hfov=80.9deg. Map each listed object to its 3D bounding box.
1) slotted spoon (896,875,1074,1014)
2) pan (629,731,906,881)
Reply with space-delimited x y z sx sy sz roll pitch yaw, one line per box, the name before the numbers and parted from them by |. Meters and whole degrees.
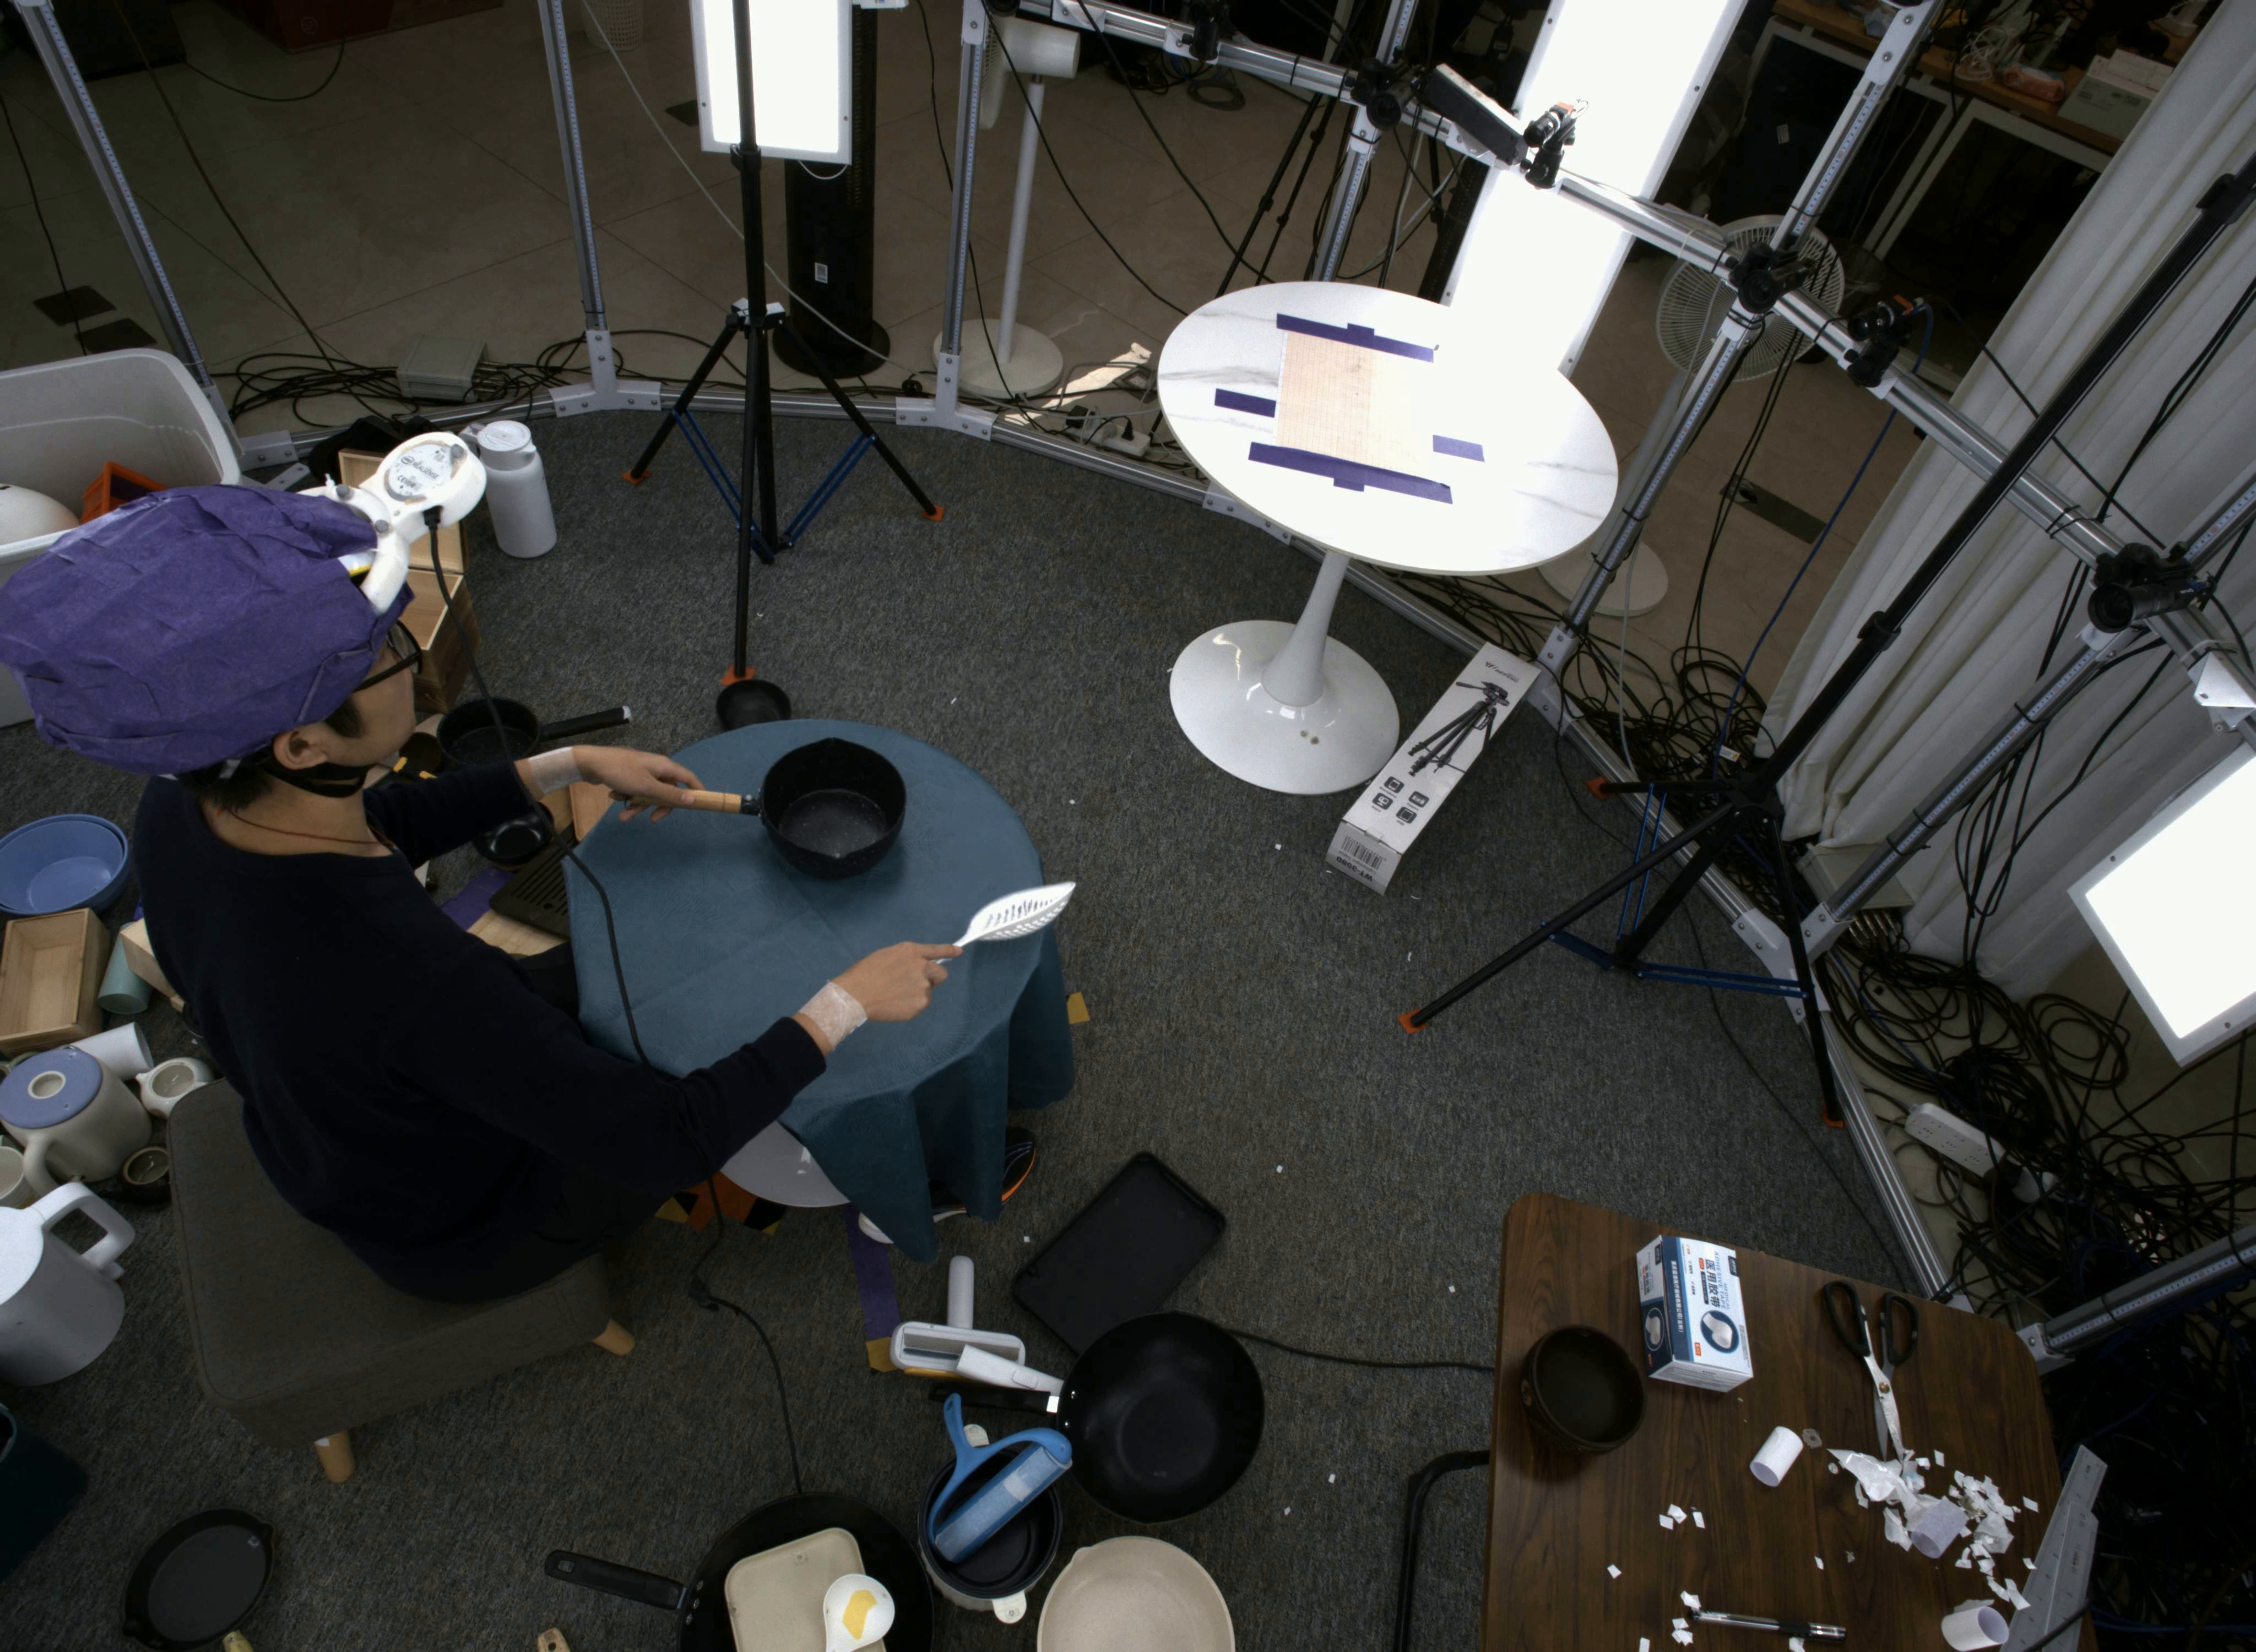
slotted spoon | -0.180 0.134 1.554 0.350 0.133 0.051 -29 107 -58
pan | -0.457 -0.020 1.650 0.344 0.110 0.203 -2 55 -18
